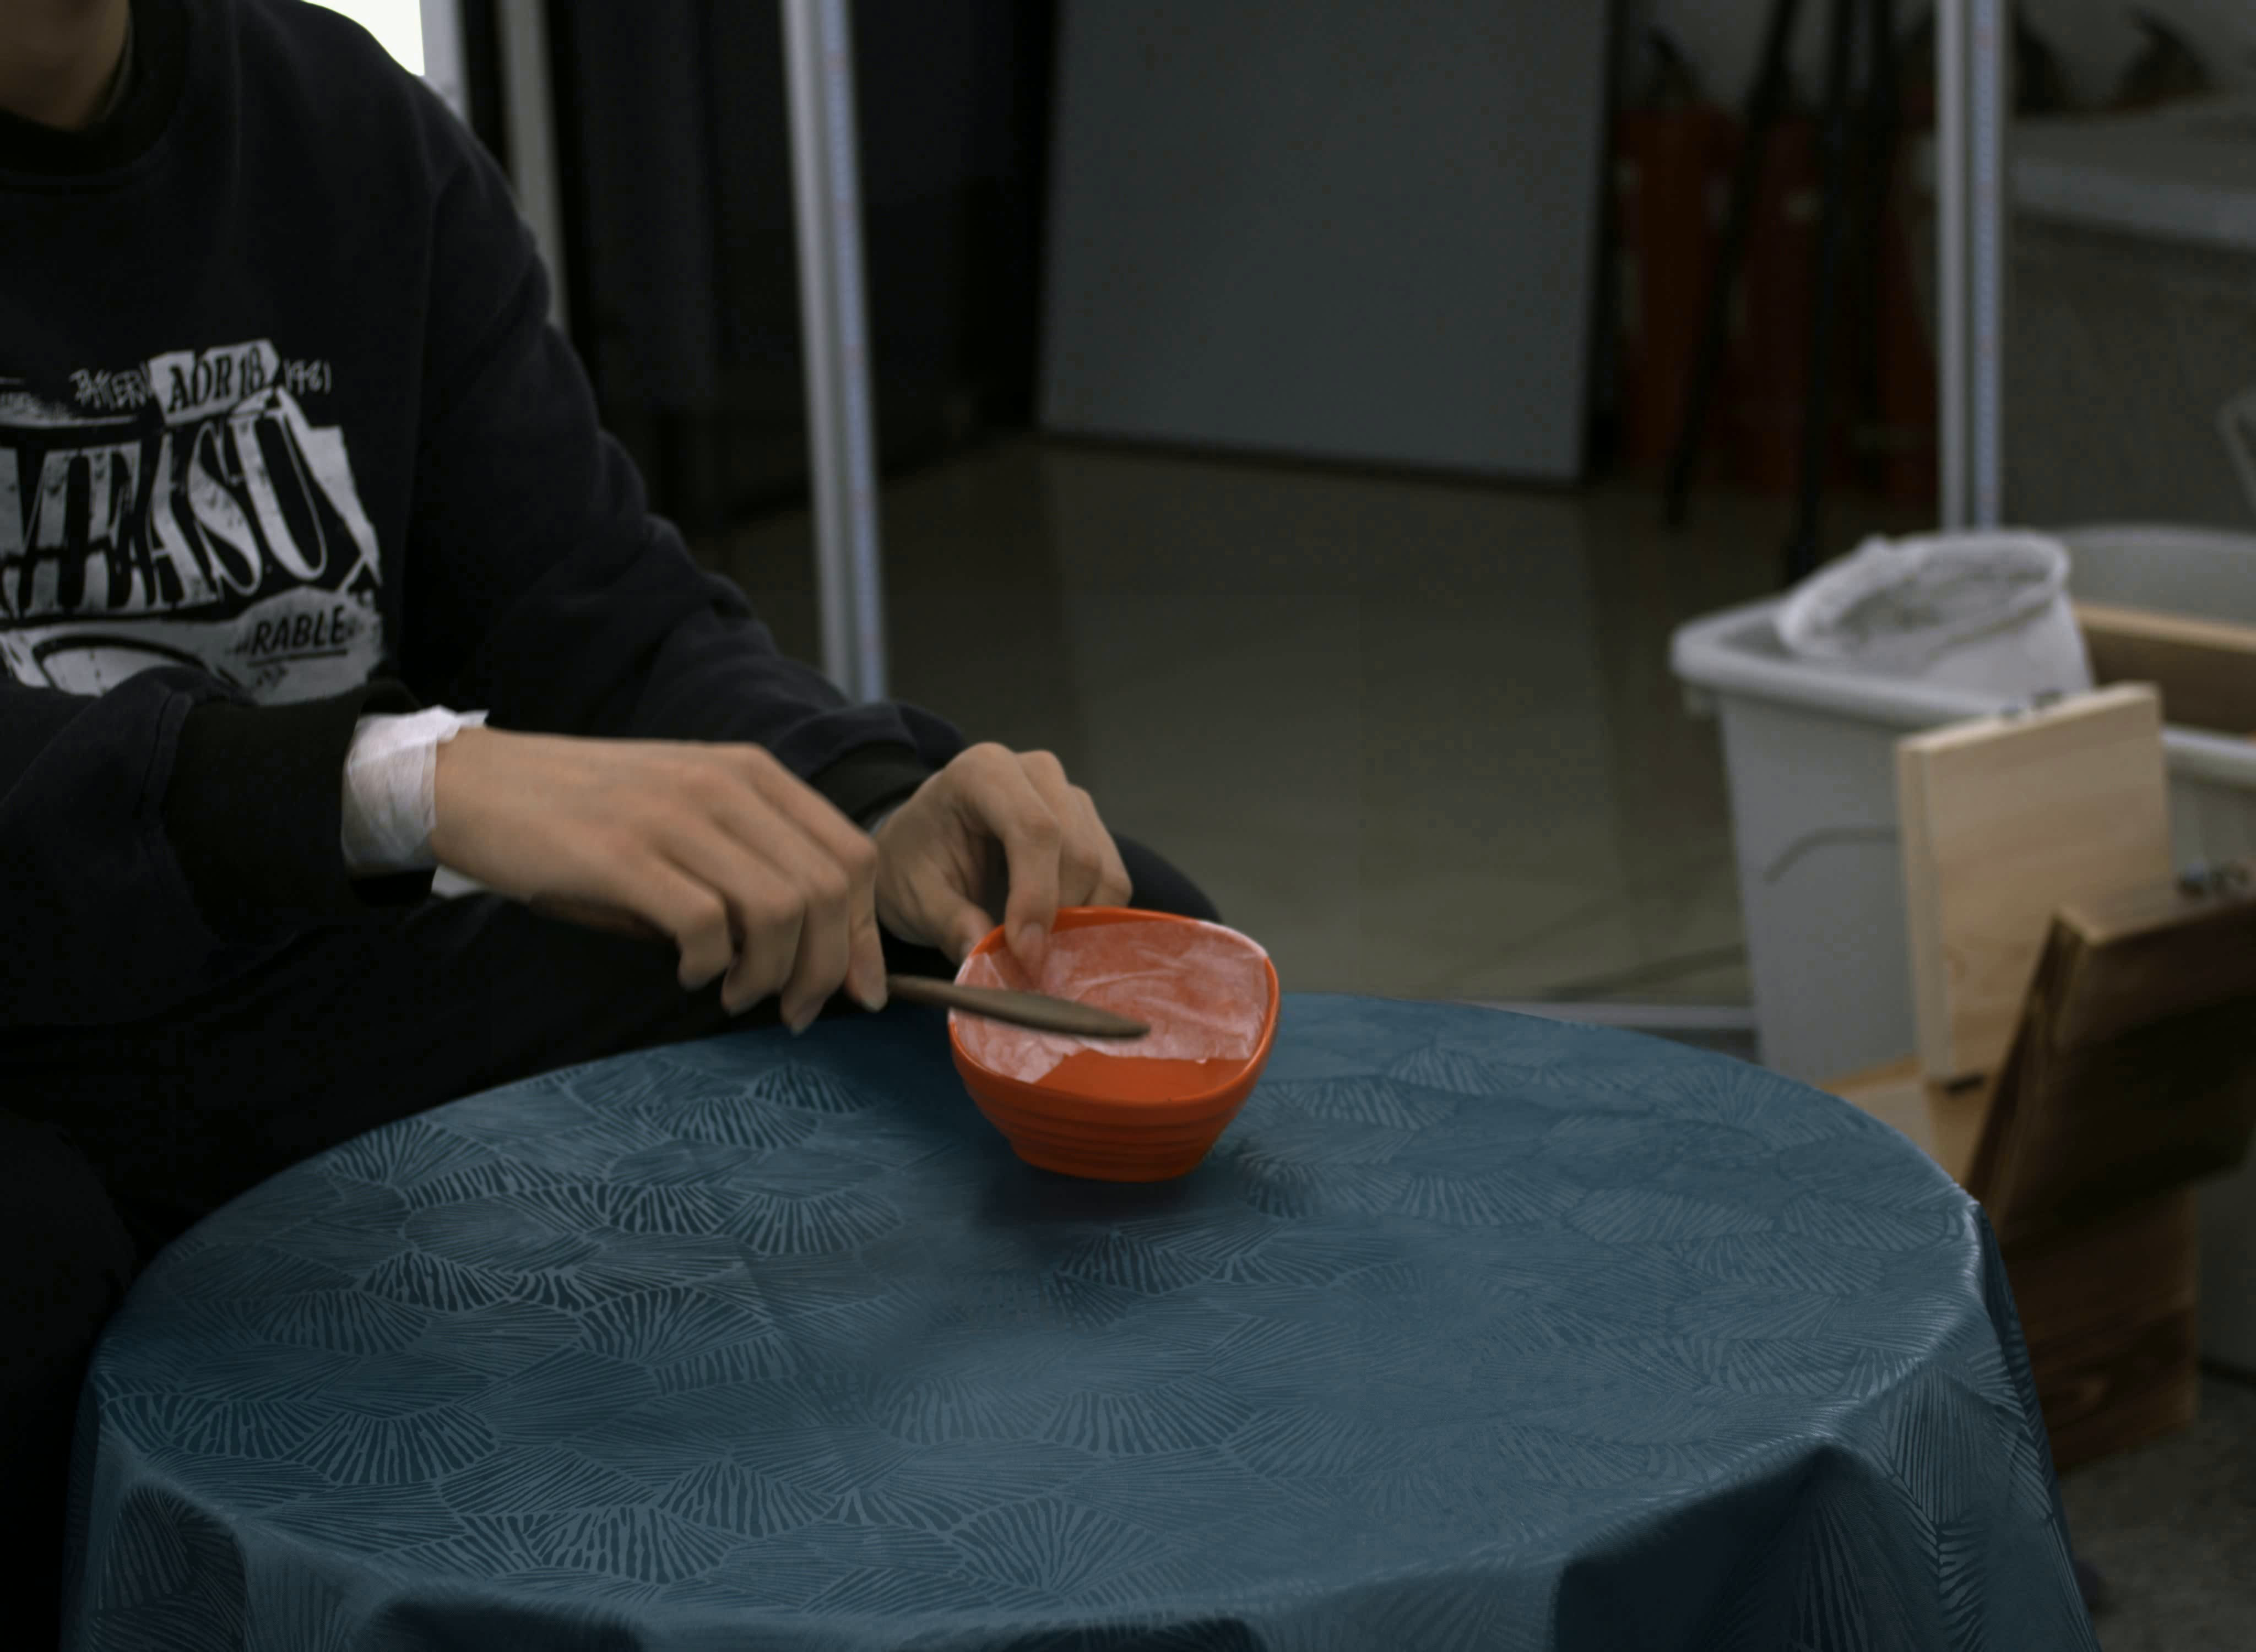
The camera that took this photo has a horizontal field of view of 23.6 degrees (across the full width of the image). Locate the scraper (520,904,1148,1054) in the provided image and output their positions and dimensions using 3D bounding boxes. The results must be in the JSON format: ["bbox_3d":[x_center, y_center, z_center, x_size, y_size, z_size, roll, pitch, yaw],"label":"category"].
[{"bbox_3d":[-0.093,0.047,1.671,0.206,0.011,0.076,13,2,-32],"label":"scraper"}]

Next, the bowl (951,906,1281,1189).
[{"bbox_3d":[-0.004,0.079,1.794,0.117,0.052,0.119,0,35,-1],"label":"bowl"}]
